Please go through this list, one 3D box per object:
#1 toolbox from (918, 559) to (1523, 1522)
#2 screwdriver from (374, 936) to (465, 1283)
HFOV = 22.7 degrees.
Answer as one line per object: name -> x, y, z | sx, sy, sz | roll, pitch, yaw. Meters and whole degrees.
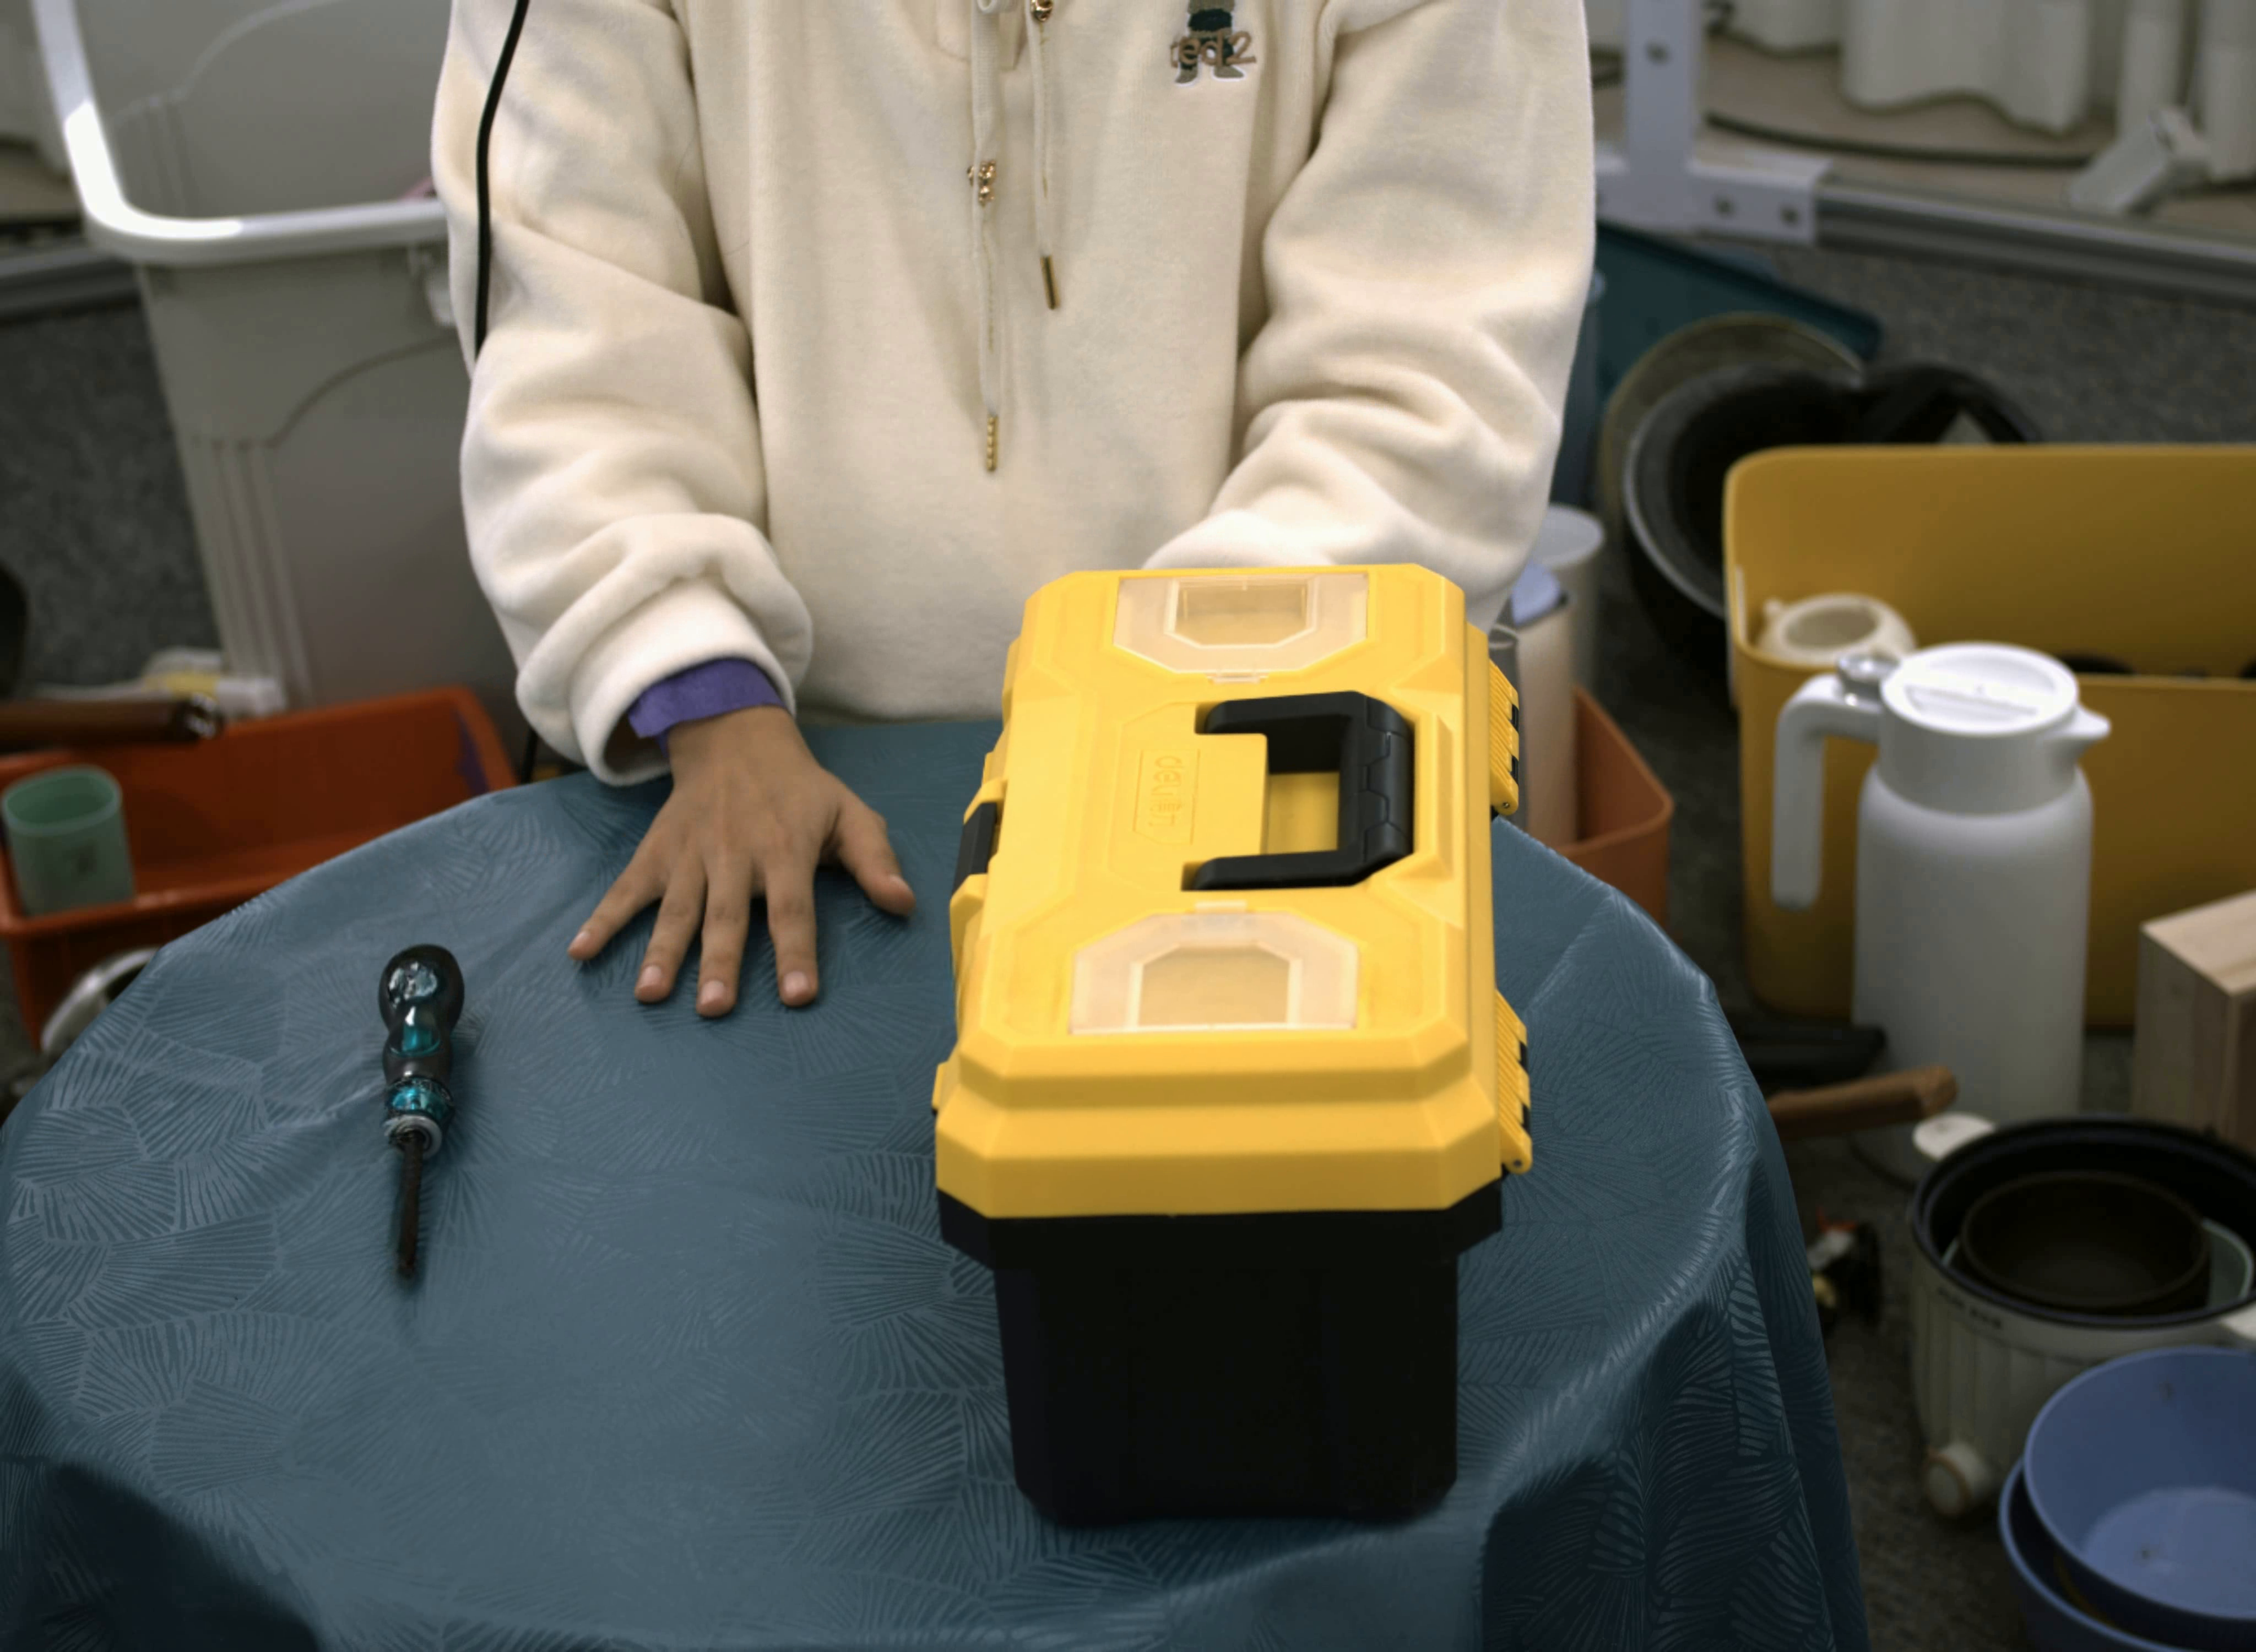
toolbox -> 0.036, 0.061, 1.788 | 0.180, 0.171, 0.357 | -1, 27, 4
screwdriver -> -0.243, 0.099, 1.907 | 0.033, 0.033, 0.193 | -4, 32, -3
